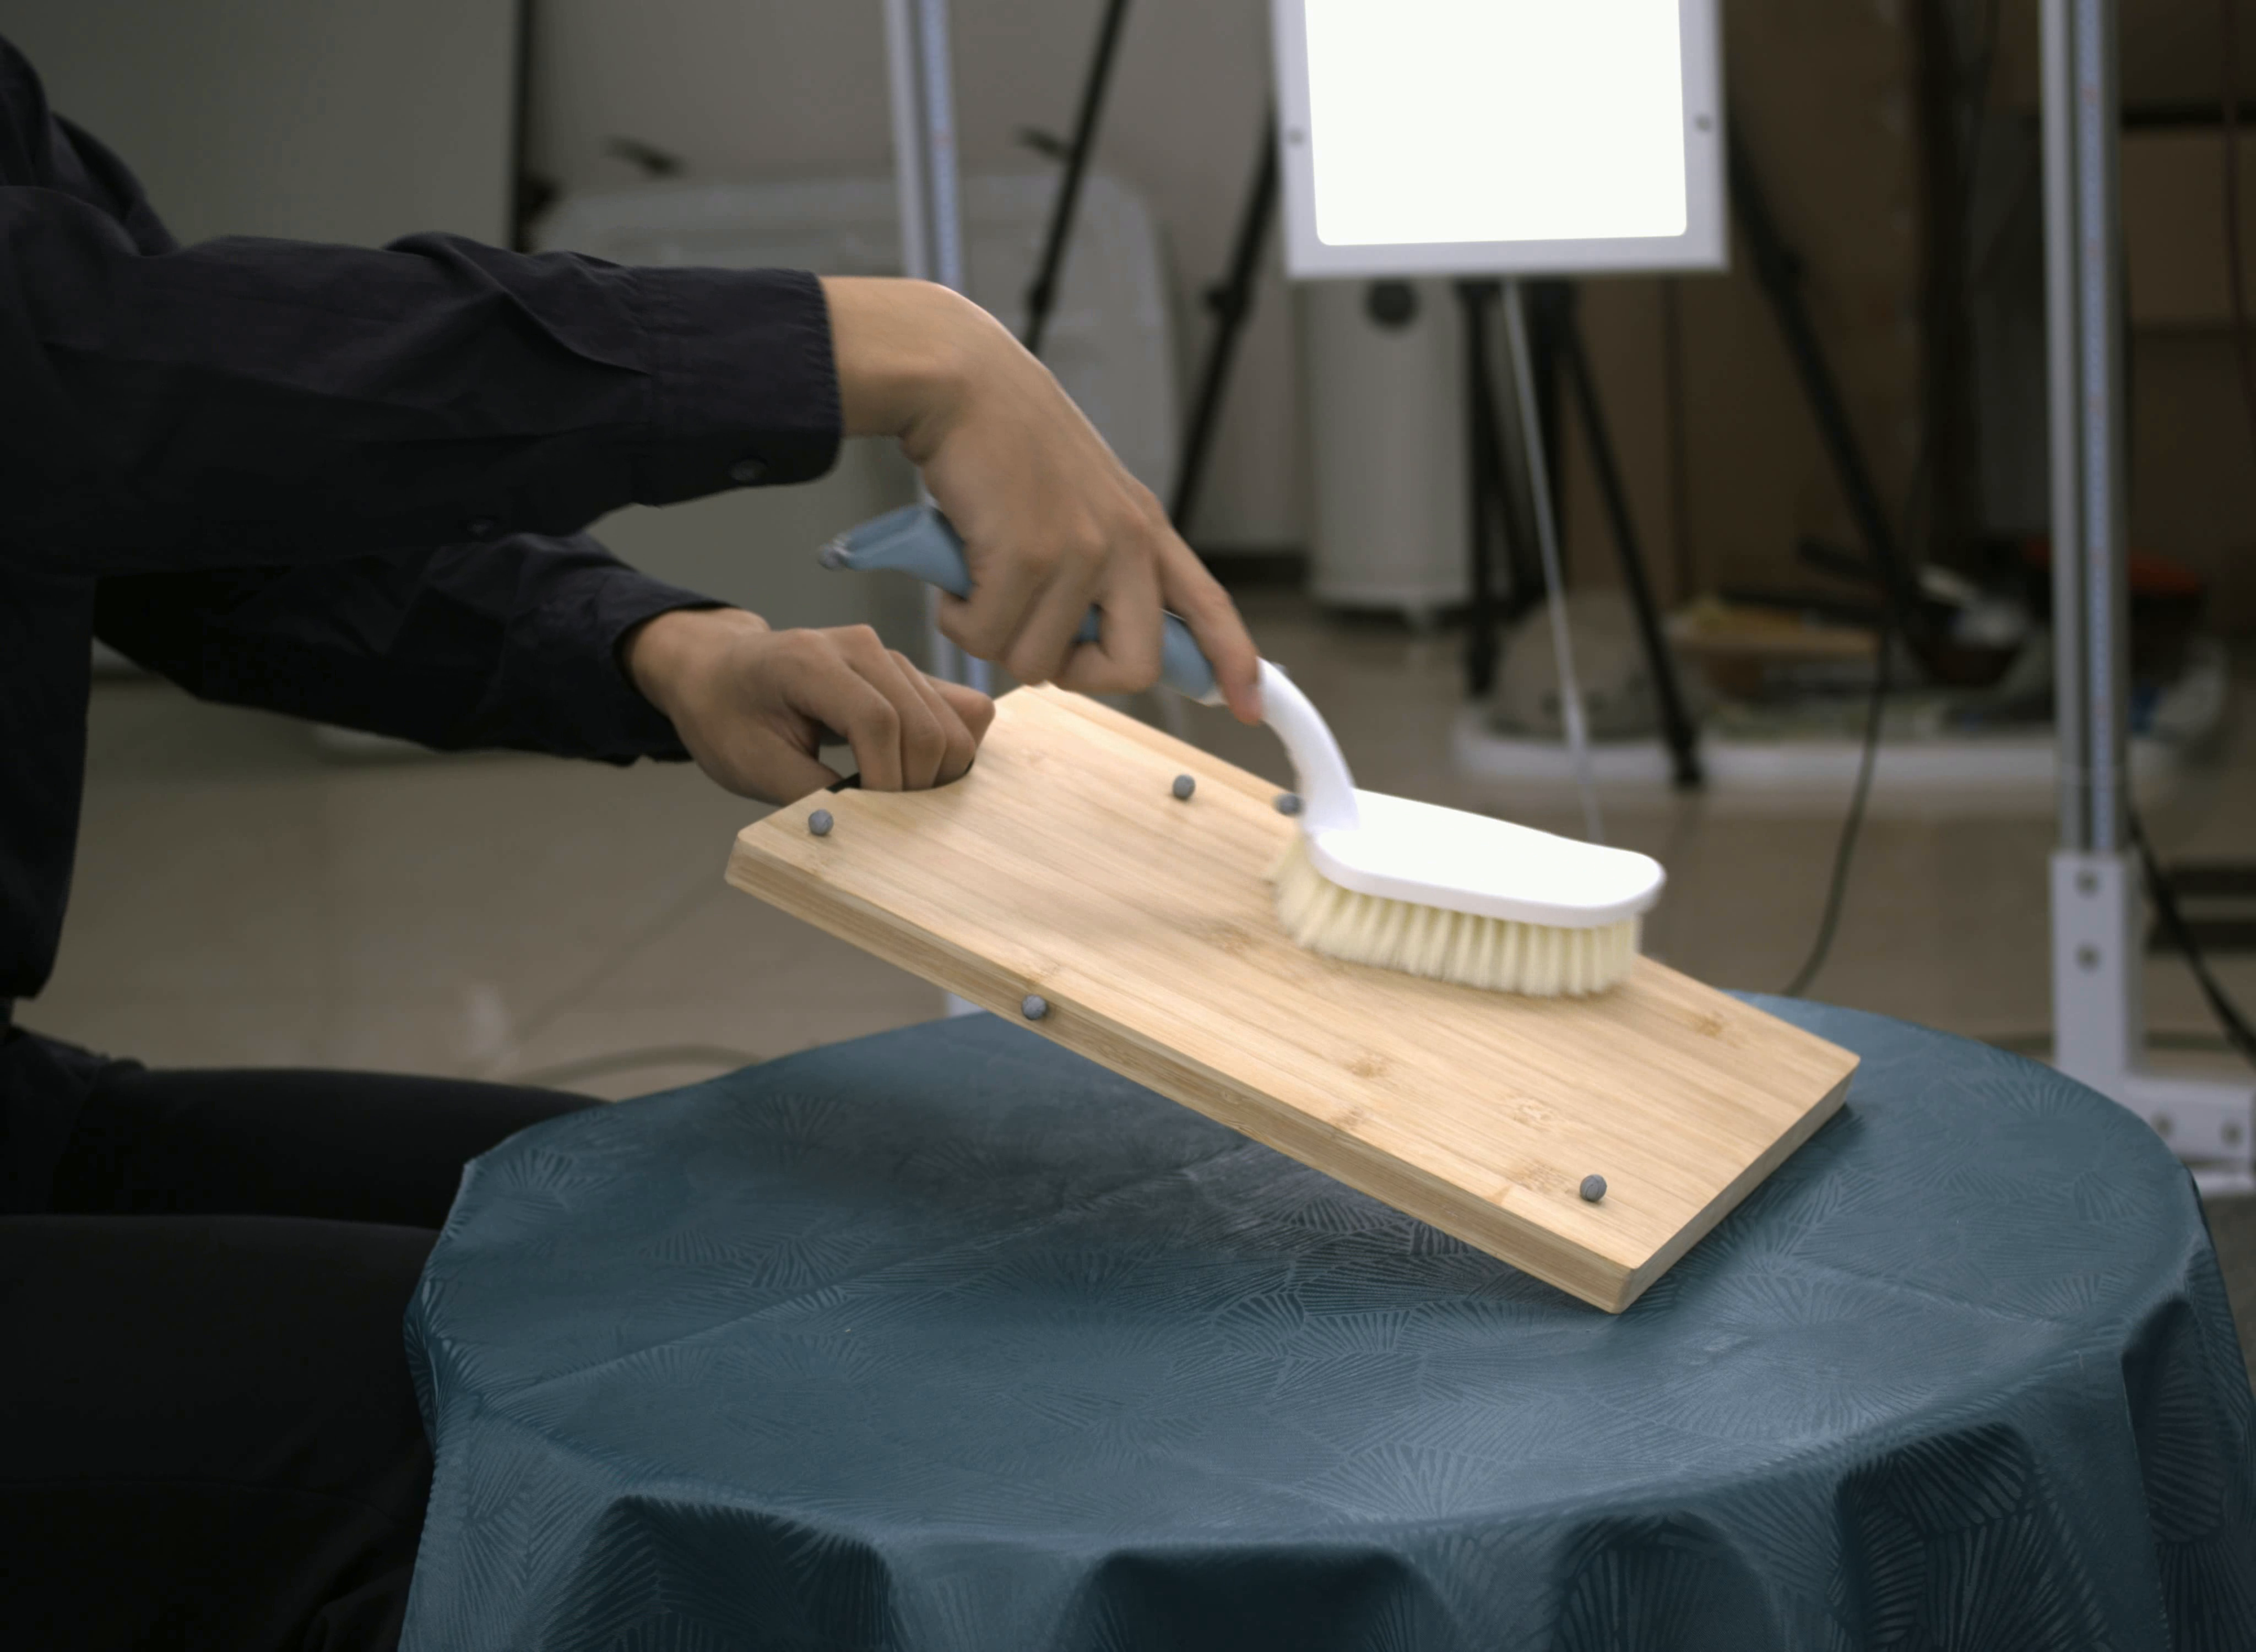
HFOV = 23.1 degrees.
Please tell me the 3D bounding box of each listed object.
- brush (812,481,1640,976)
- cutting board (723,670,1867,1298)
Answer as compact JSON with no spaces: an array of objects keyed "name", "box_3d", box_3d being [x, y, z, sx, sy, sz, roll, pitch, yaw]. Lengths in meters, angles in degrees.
[{"name":"brush","box_3d":[0.025,-0.019,1.887,0.321,0.084,0.084,23,-16,-16]},{"name":"cutting board","box_3d":[0.062,0.047,1.890,0.352,0.024,0.246,24,23,18]}]
